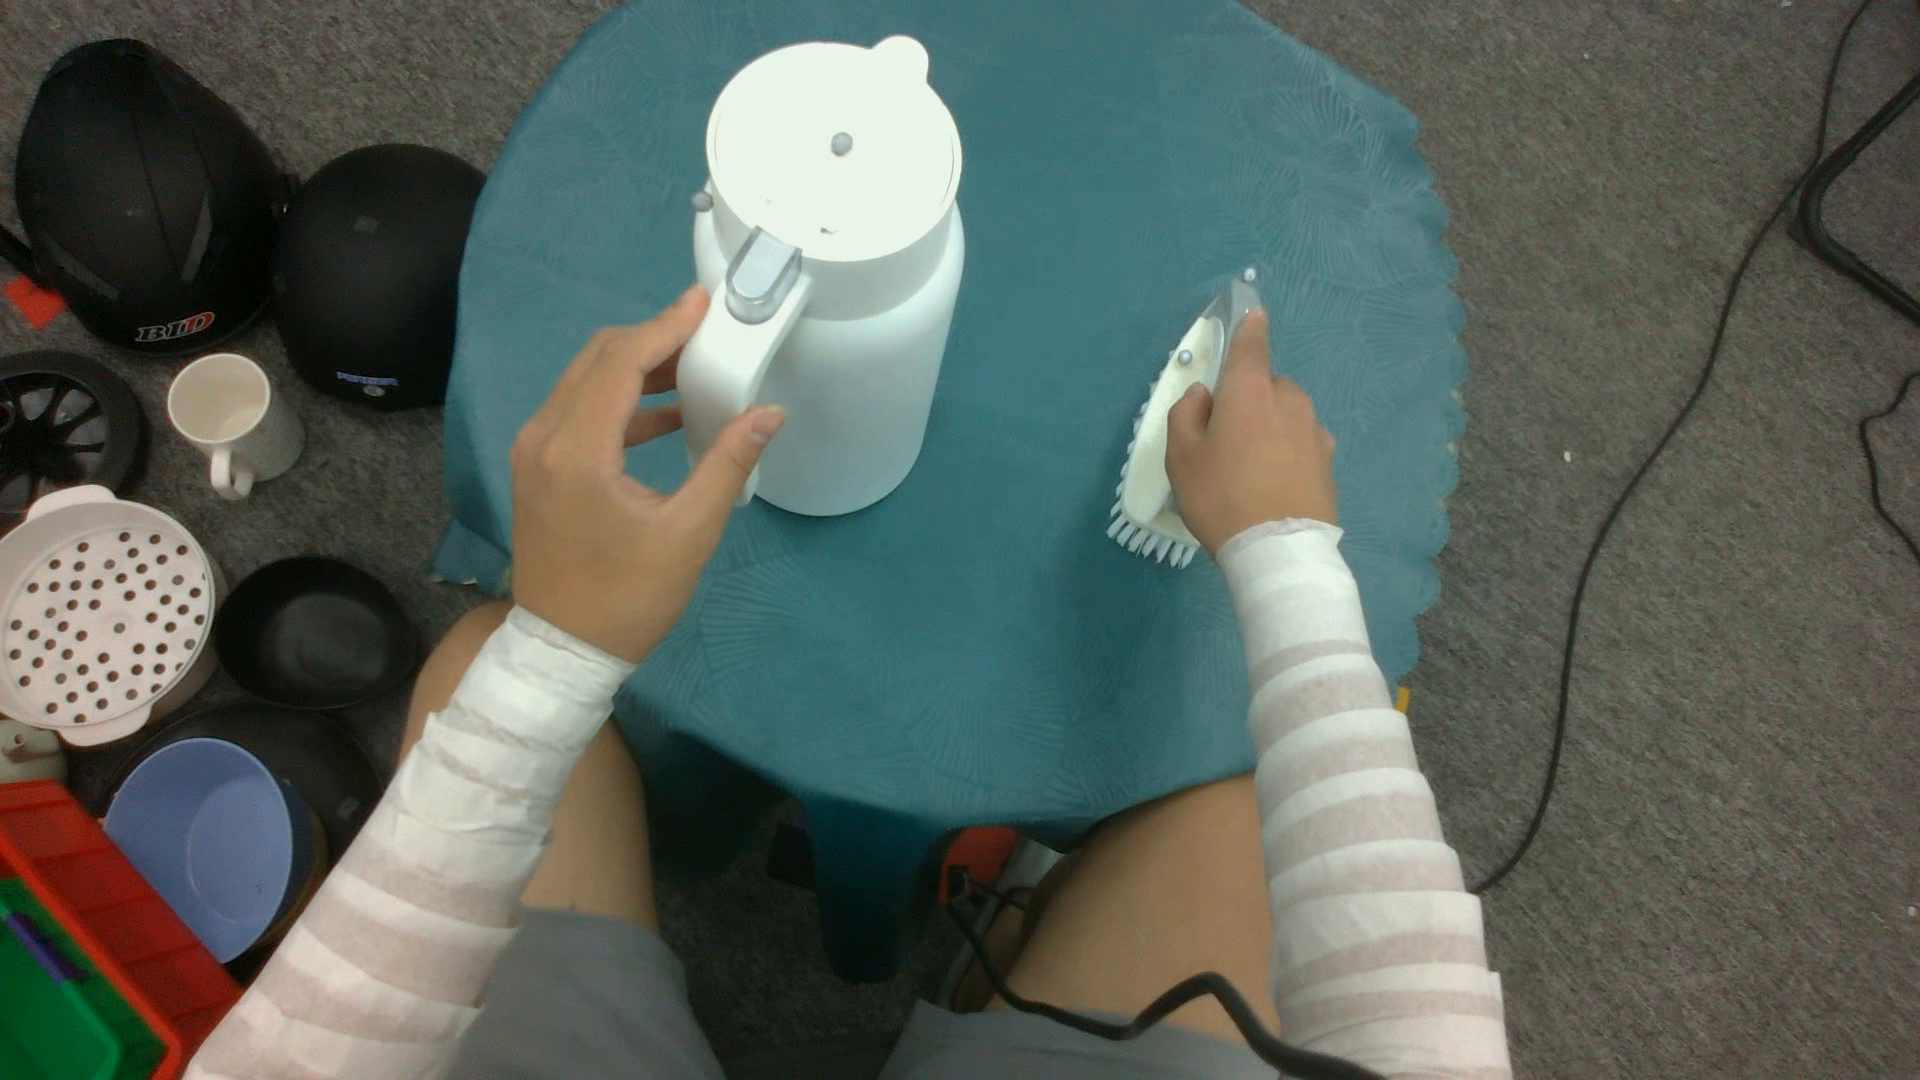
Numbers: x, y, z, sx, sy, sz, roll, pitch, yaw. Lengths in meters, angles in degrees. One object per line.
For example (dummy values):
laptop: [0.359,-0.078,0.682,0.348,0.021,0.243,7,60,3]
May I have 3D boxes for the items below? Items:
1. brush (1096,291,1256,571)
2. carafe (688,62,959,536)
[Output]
brush: [0.135,-0.076,0.781,0.061,0.094,0.176,23,66,-8]
carafe: [-0.071,-0.084,0.666,0.124,0.268,0.173,25,70,0]
